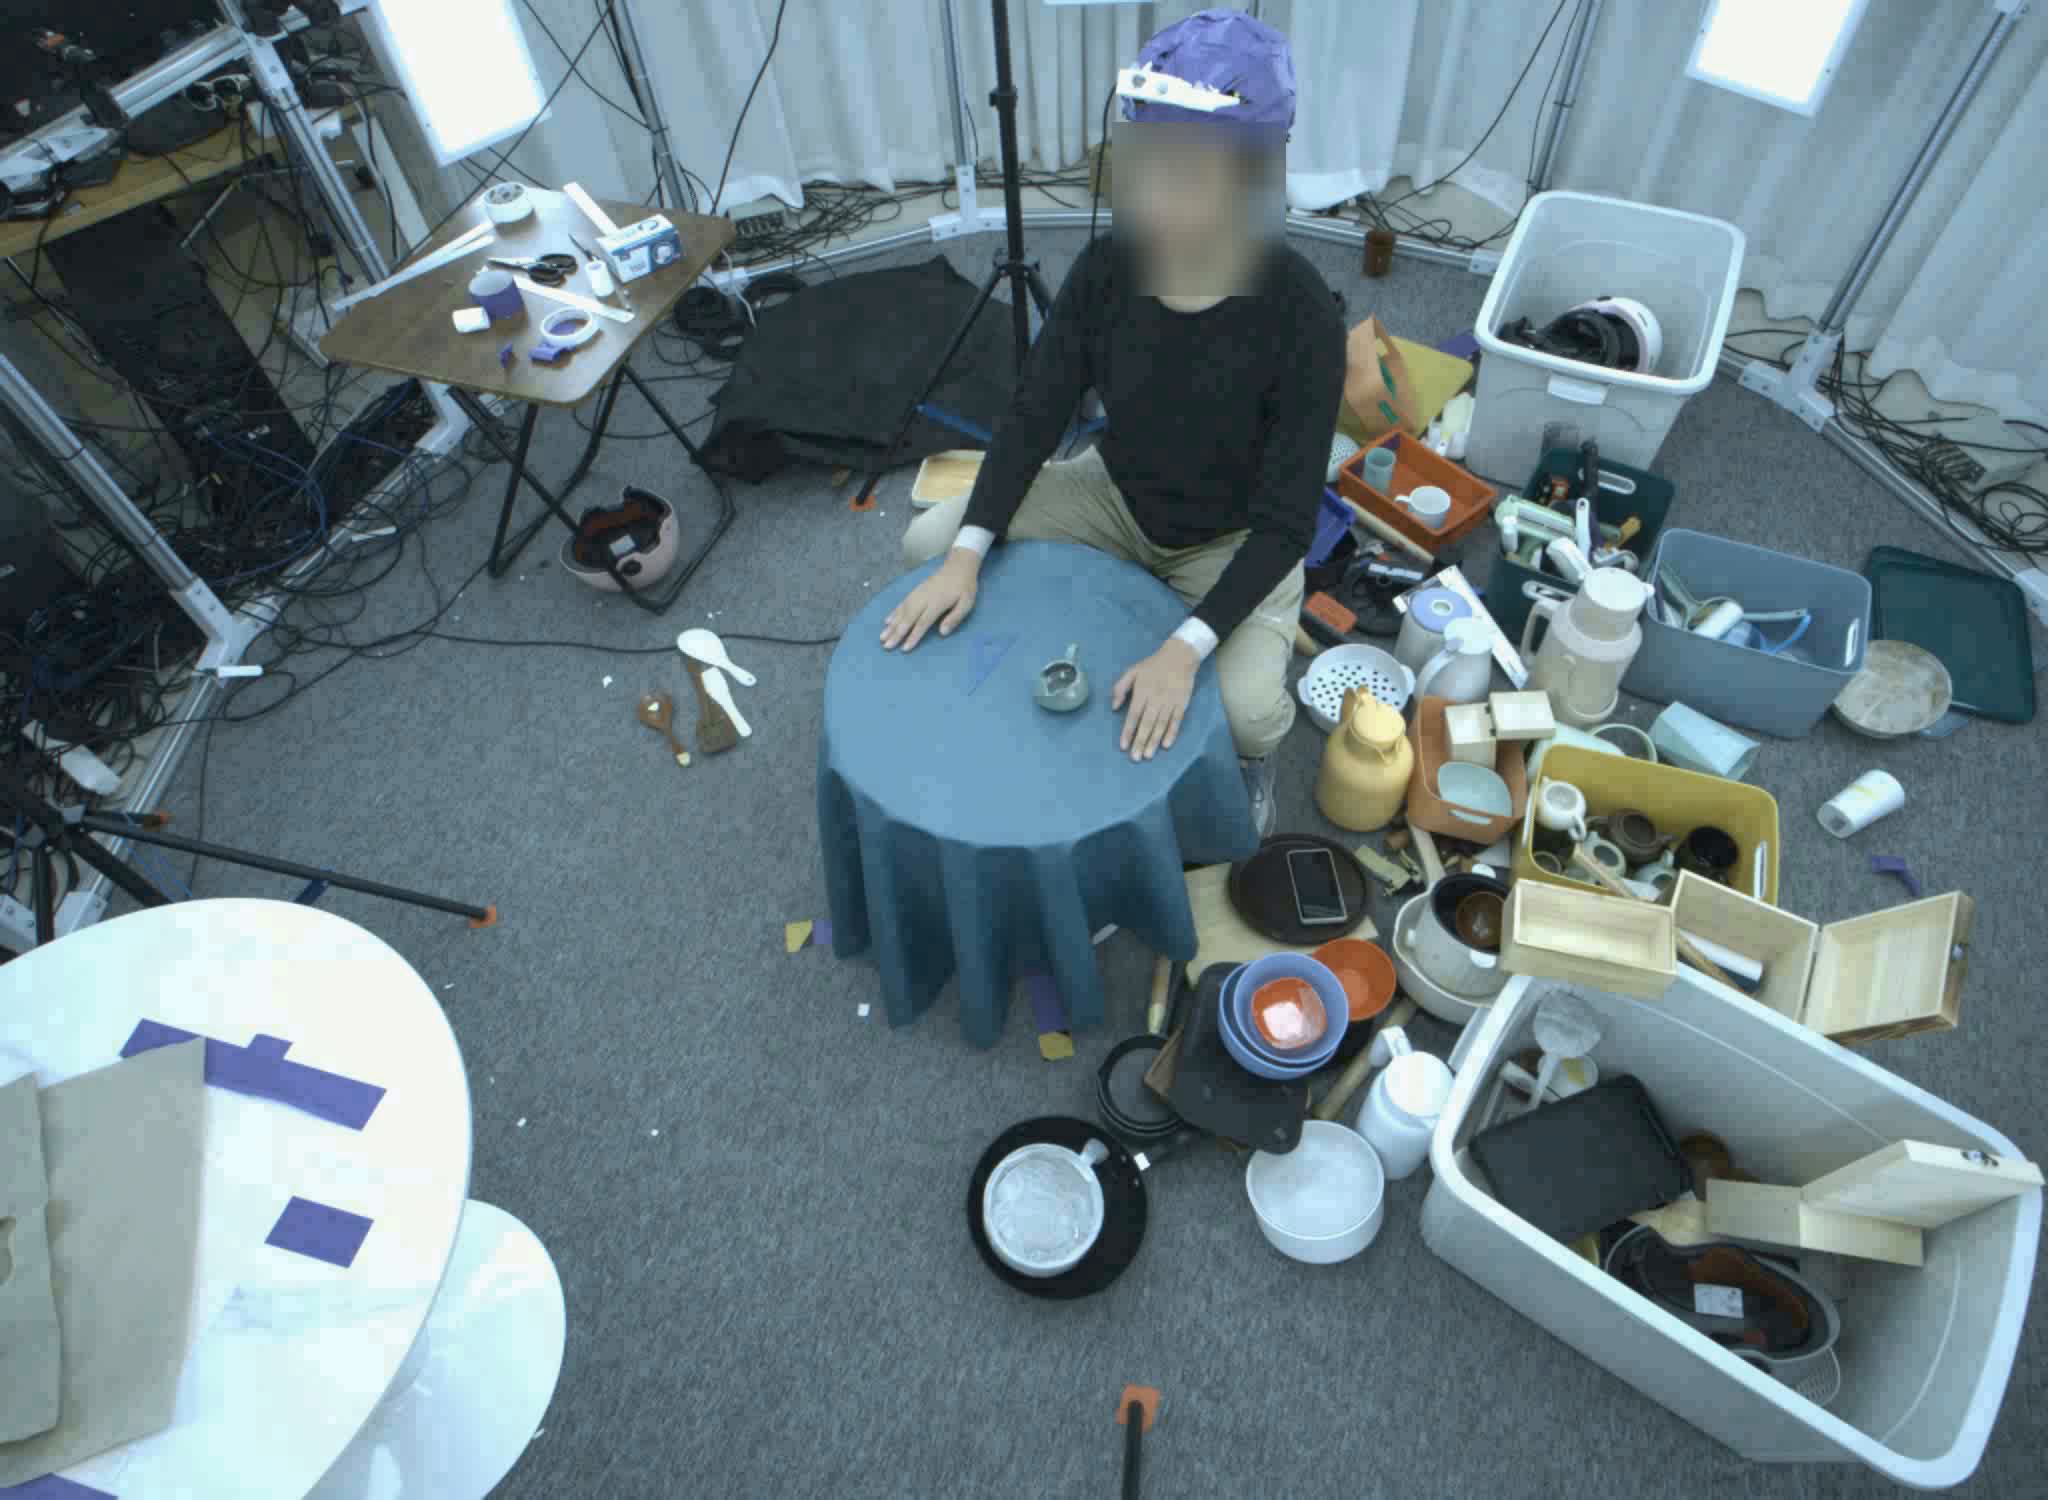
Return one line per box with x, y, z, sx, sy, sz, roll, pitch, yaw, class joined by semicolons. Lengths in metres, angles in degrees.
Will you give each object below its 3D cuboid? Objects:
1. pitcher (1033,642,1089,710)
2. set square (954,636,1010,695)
0.057;-0.107;1.827;0.083;0.057;0.112;16;57;11;pitcher
-0.082;-0.140;1.887;0.060;0.006;0.132;30;61;20;set square
